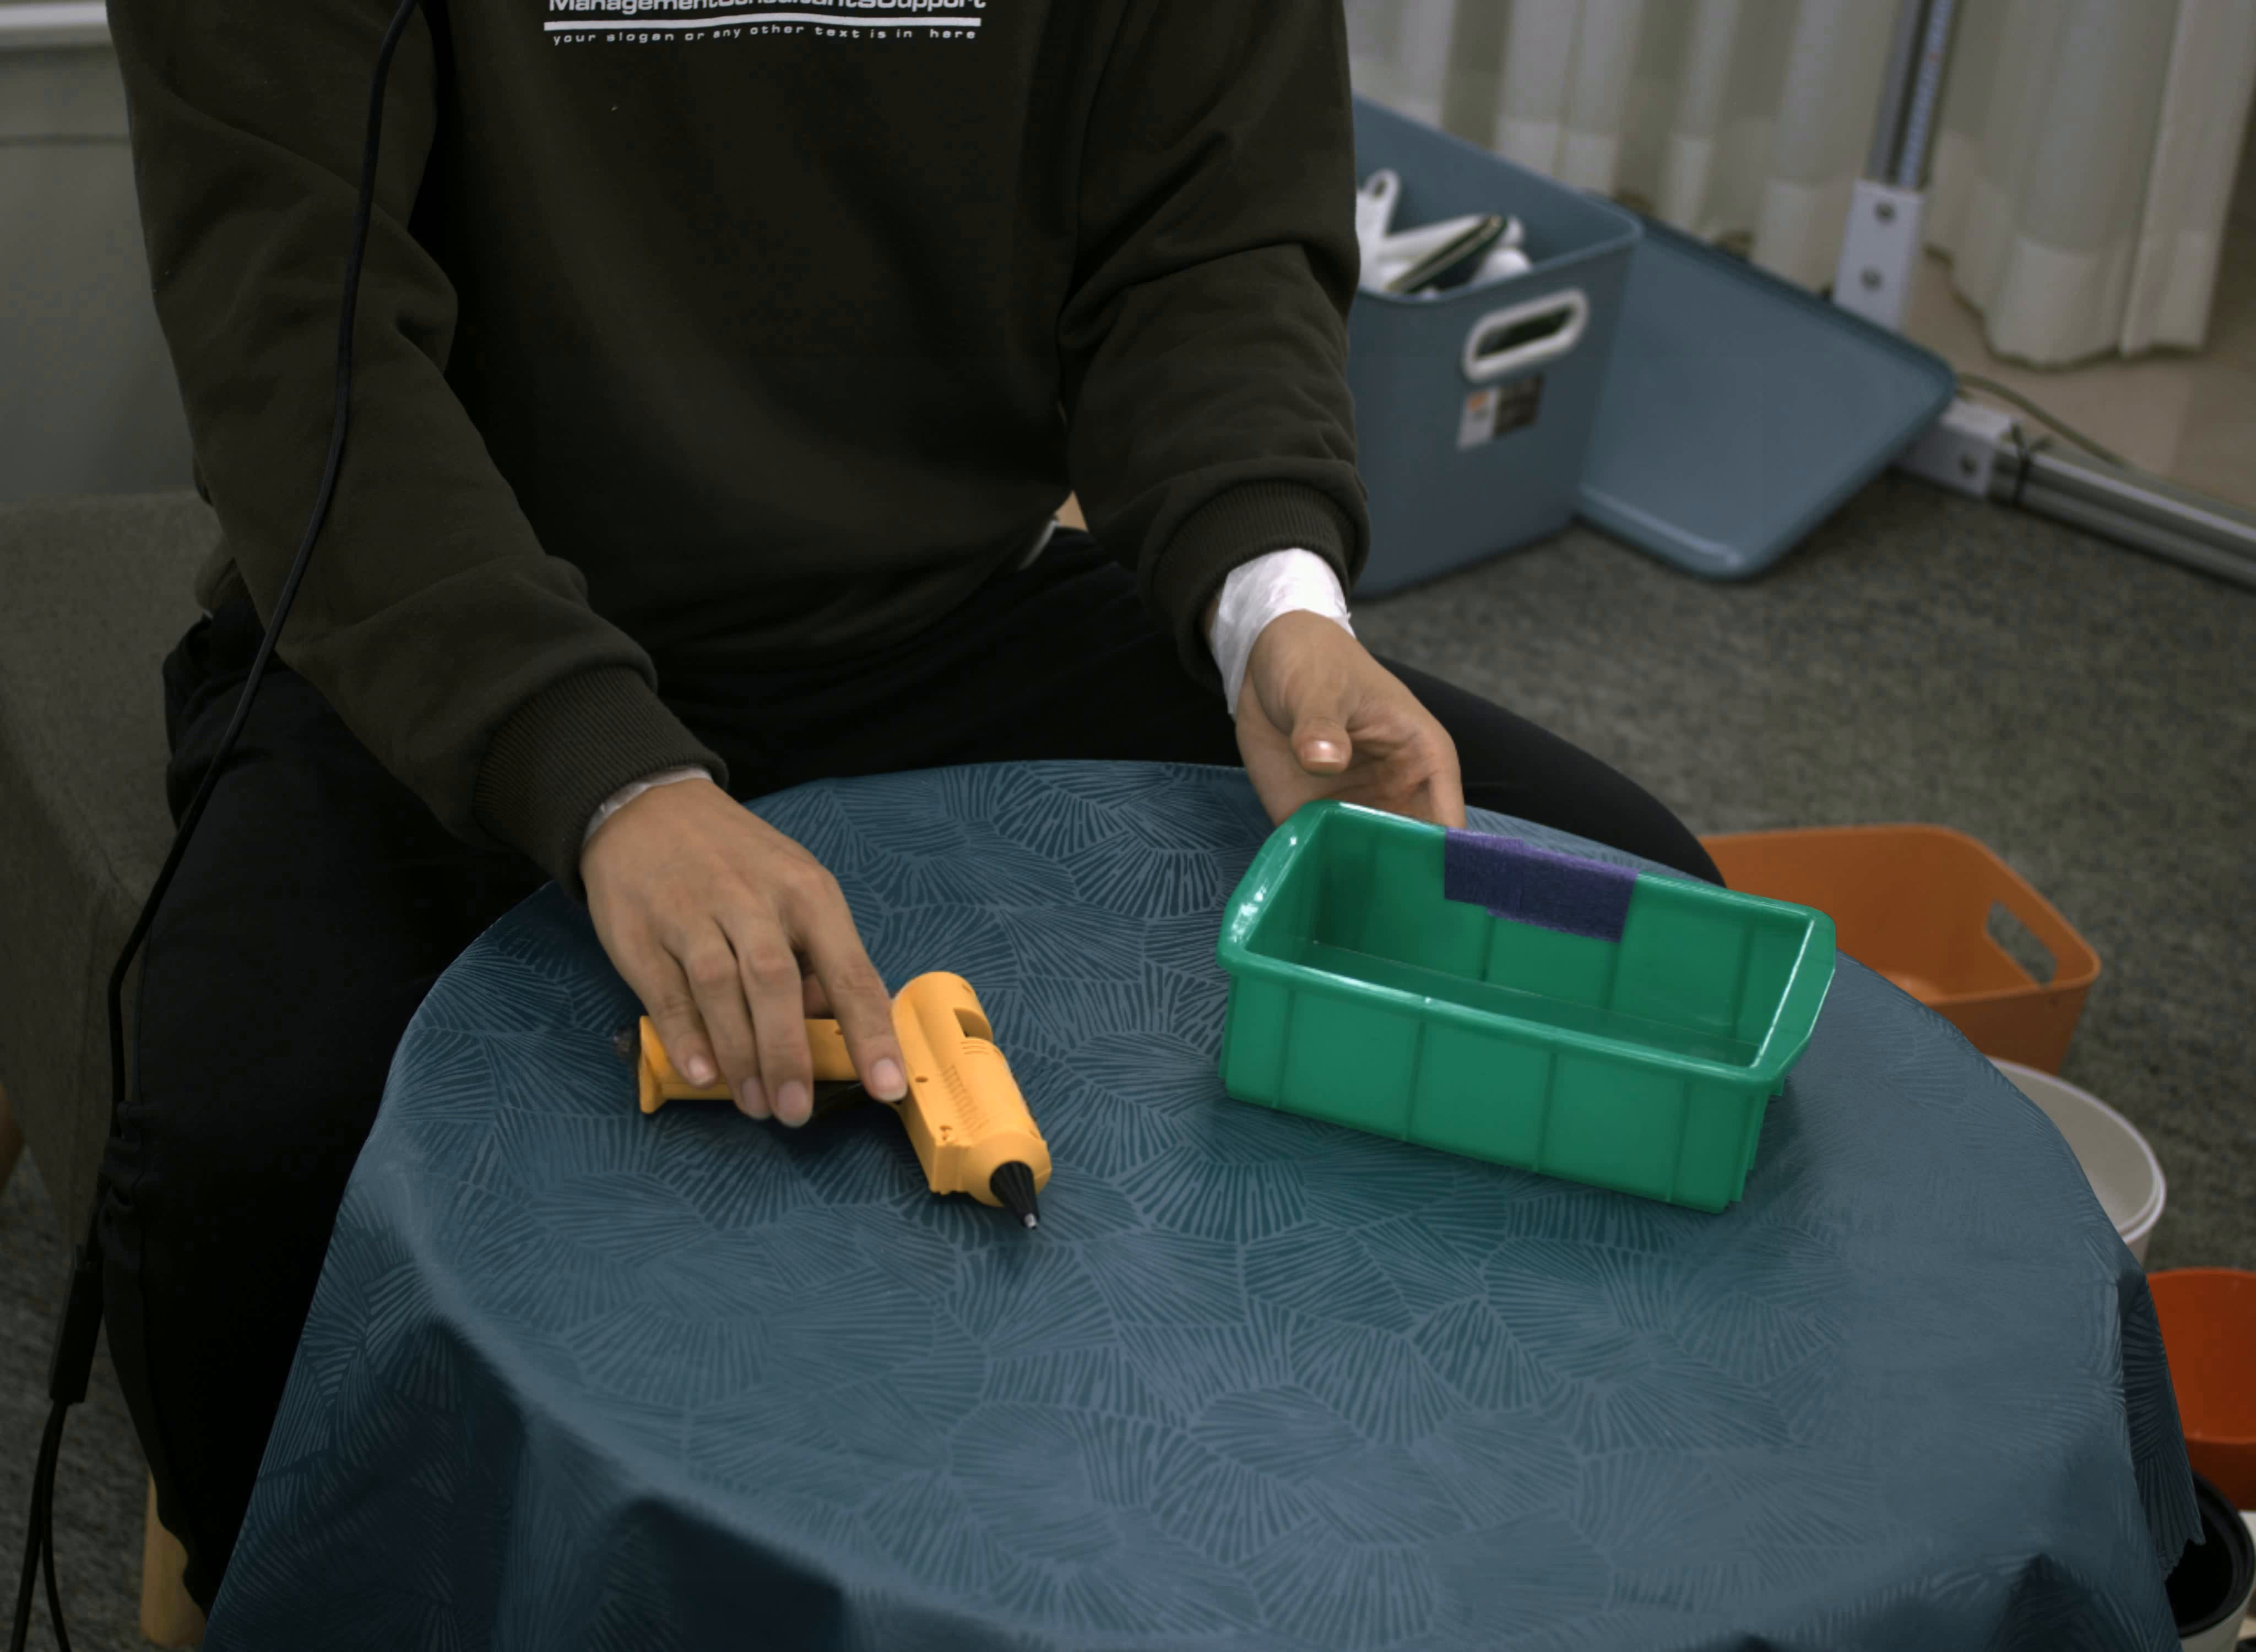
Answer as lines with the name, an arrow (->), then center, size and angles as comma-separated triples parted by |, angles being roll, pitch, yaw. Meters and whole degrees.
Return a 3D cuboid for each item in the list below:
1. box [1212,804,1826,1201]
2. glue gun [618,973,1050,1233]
box -> 0.137, 0.064, 1.891 | 0.210, 0.065, 0.139 | 11, 25, 12
glue gun -> -0.093, 0.102, 1.806 | 0.132, 0.031, 0.152 | -5, 29, -19
